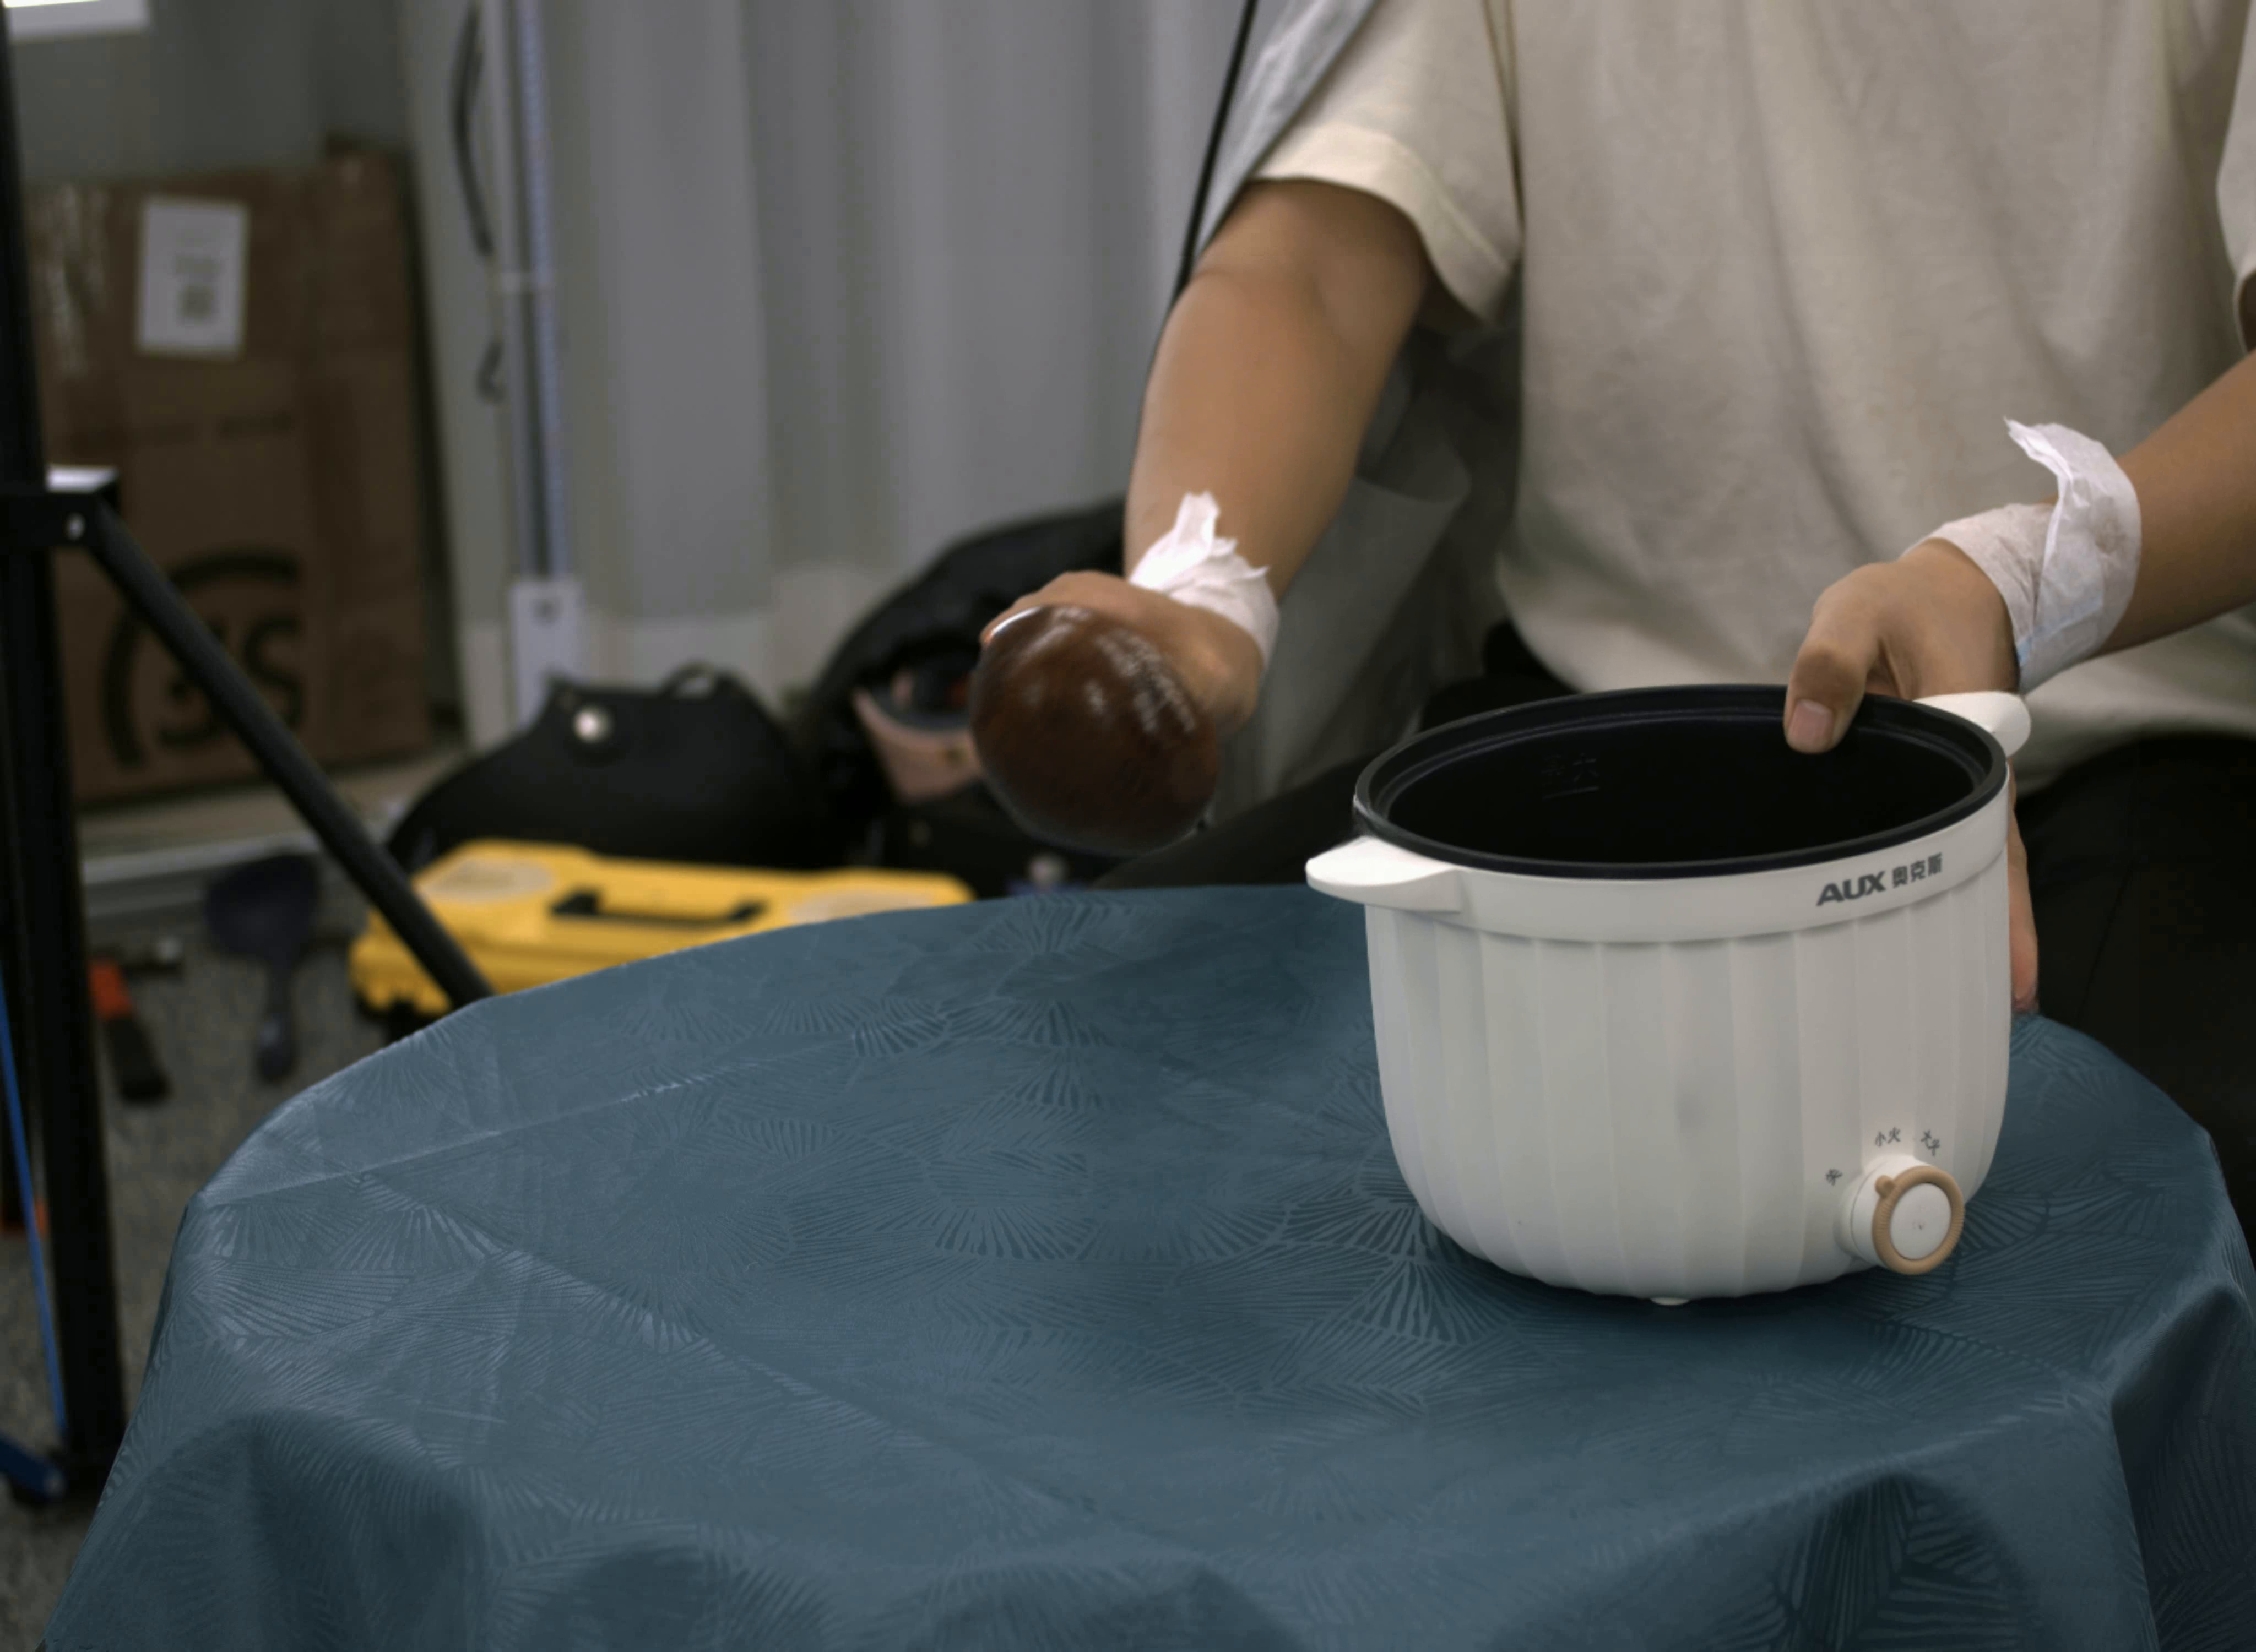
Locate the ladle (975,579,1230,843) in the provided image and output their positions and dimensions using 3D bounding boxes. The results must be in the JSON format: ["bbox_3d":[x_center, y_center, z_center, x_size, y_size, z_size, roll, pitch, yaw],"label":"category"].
[{"bbox_3d":[0.003,-0.042,1.625,0.077,0.082,0.272,-39,0,10],"label":"ladle"}]

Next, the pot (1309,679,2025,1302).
[{"bbox_3d":[0.161,0.048,1.477,0.235,0.142,0.194,-15,15,-28],"label":"pot"}]
